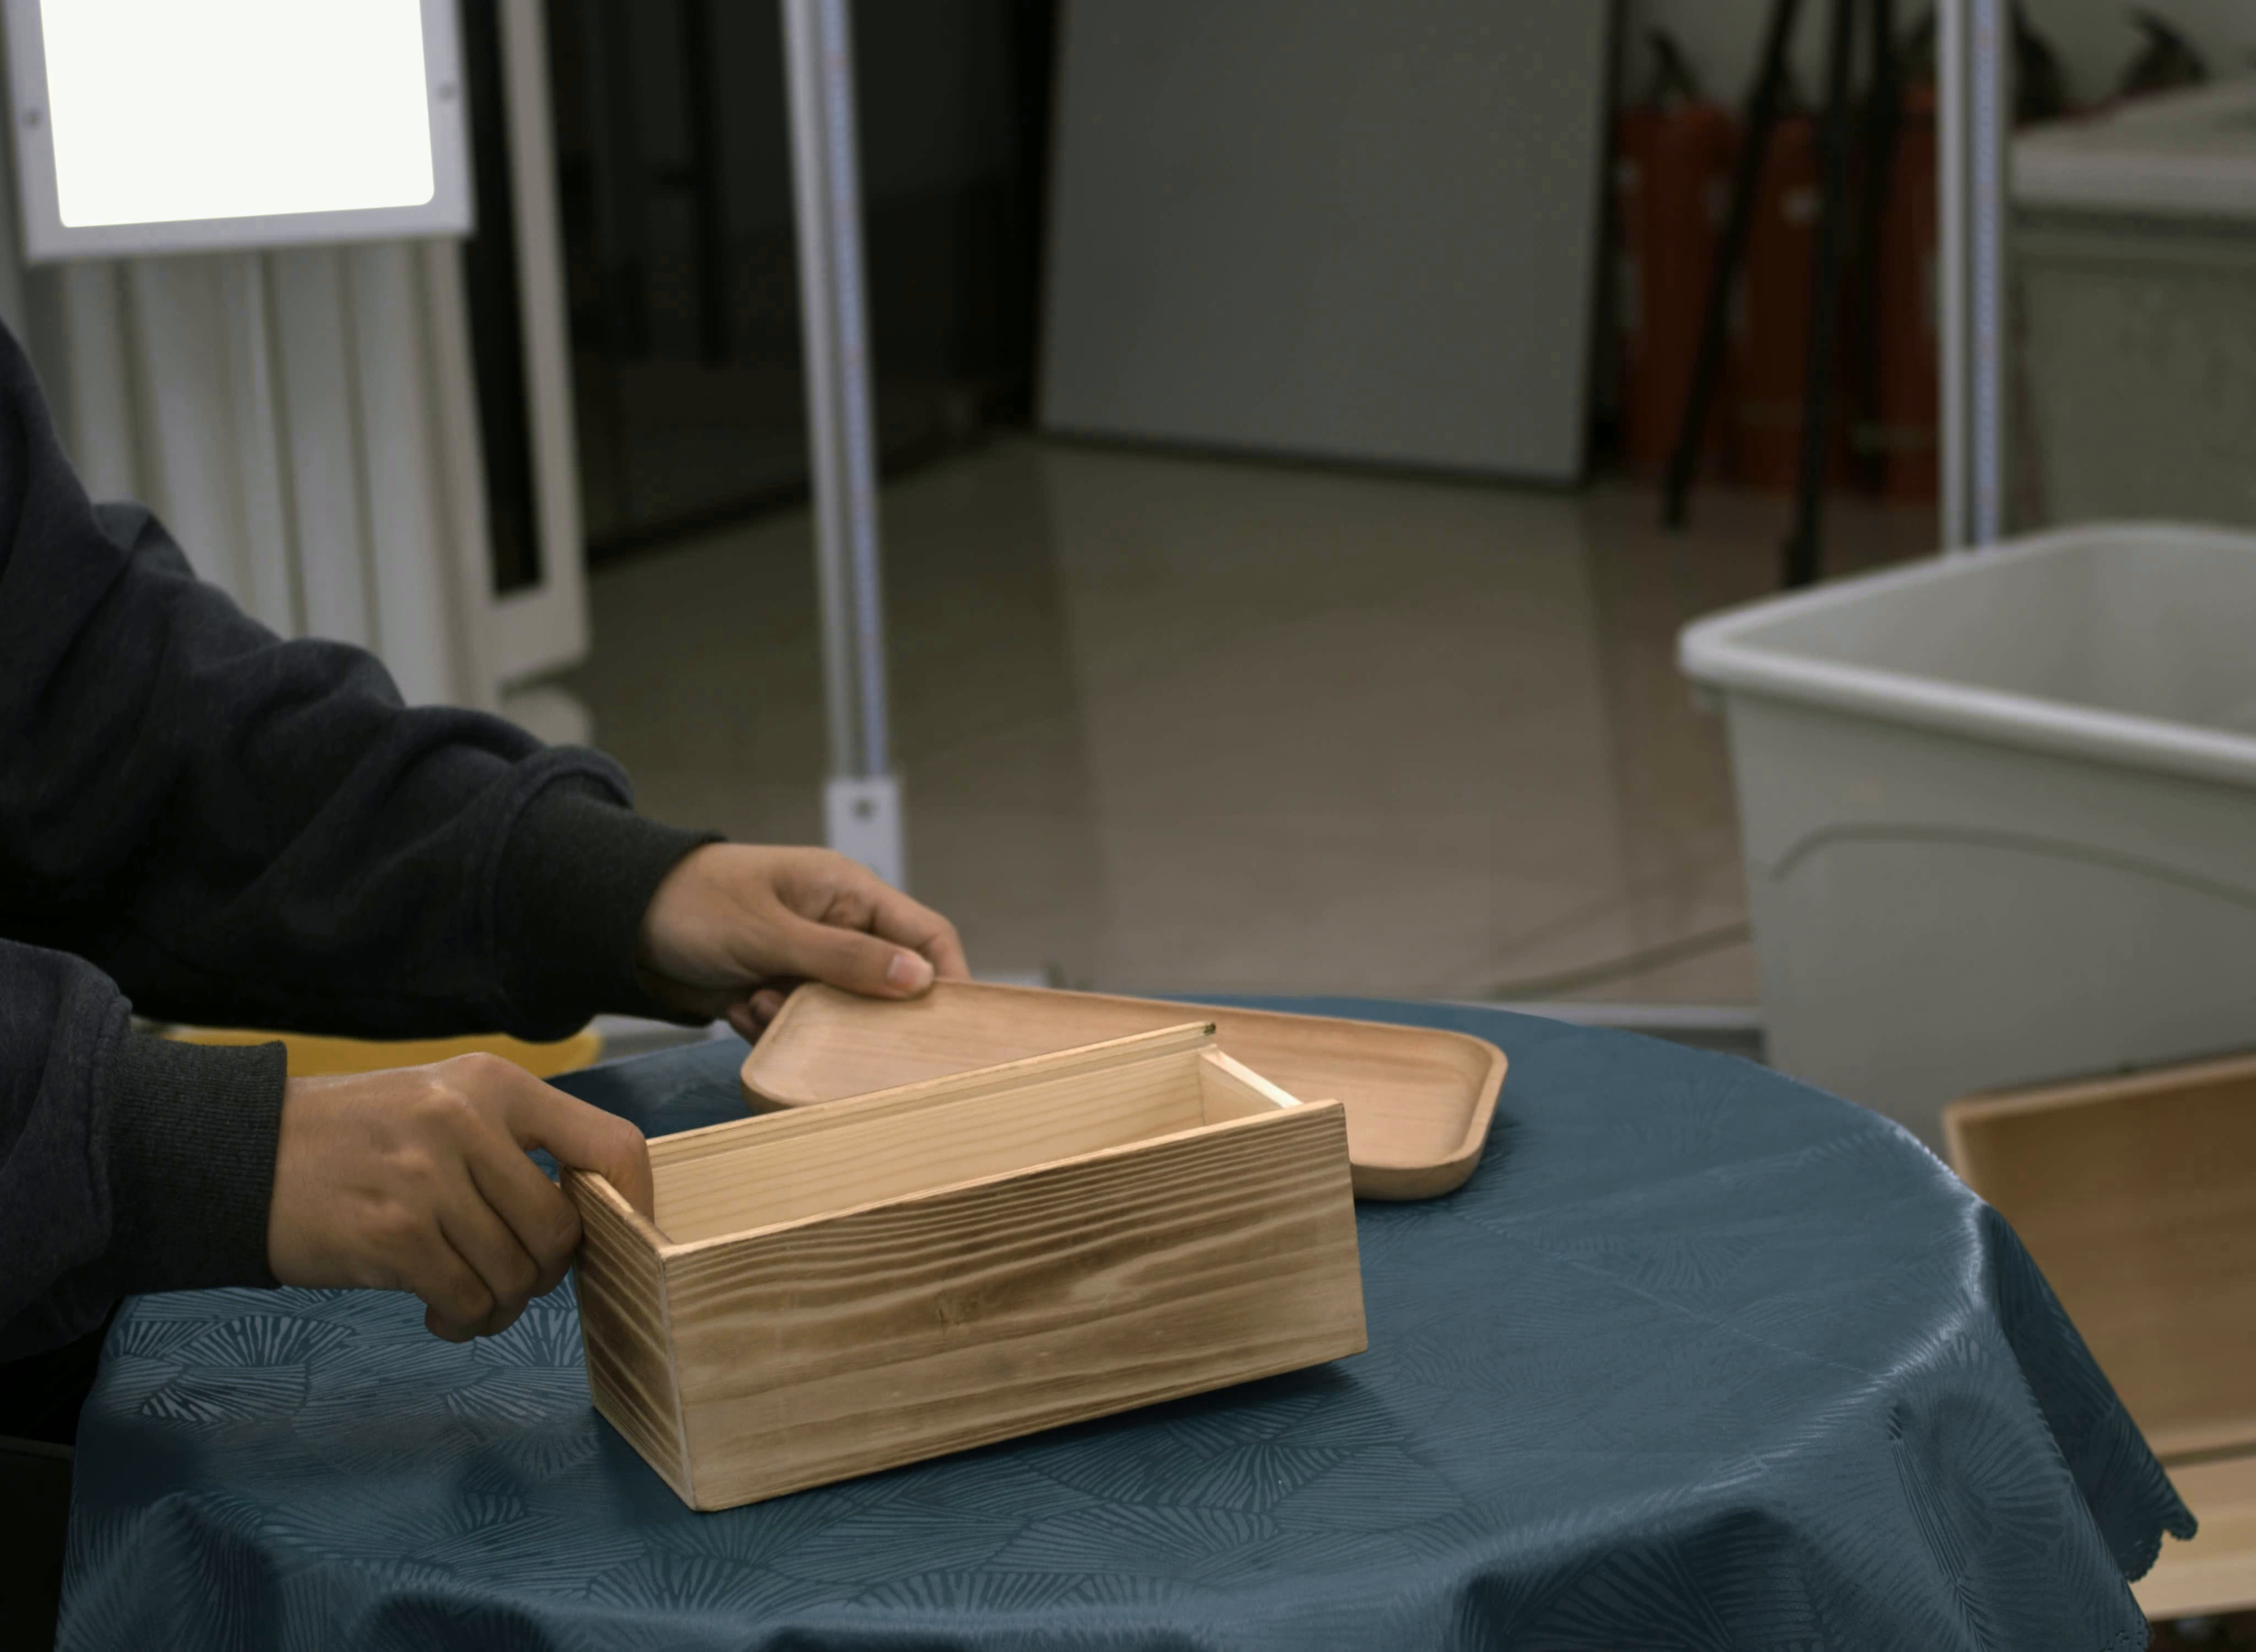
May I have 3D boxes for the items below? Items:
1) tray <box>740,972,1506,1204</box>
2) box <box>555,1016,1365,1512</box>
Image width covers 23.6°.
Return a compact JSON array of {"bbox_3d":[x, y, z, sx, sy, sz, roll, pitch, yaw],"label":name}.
[{"bbox_3d":[-0.001,0.087,1.805,0.249,0.023,0.130,5,16,12],"label":"tray"},{"bbox_3d":[-0.049,0.125,1.578,0.207,0.081,0.108,-12,15,-18],"label":"box"}]
